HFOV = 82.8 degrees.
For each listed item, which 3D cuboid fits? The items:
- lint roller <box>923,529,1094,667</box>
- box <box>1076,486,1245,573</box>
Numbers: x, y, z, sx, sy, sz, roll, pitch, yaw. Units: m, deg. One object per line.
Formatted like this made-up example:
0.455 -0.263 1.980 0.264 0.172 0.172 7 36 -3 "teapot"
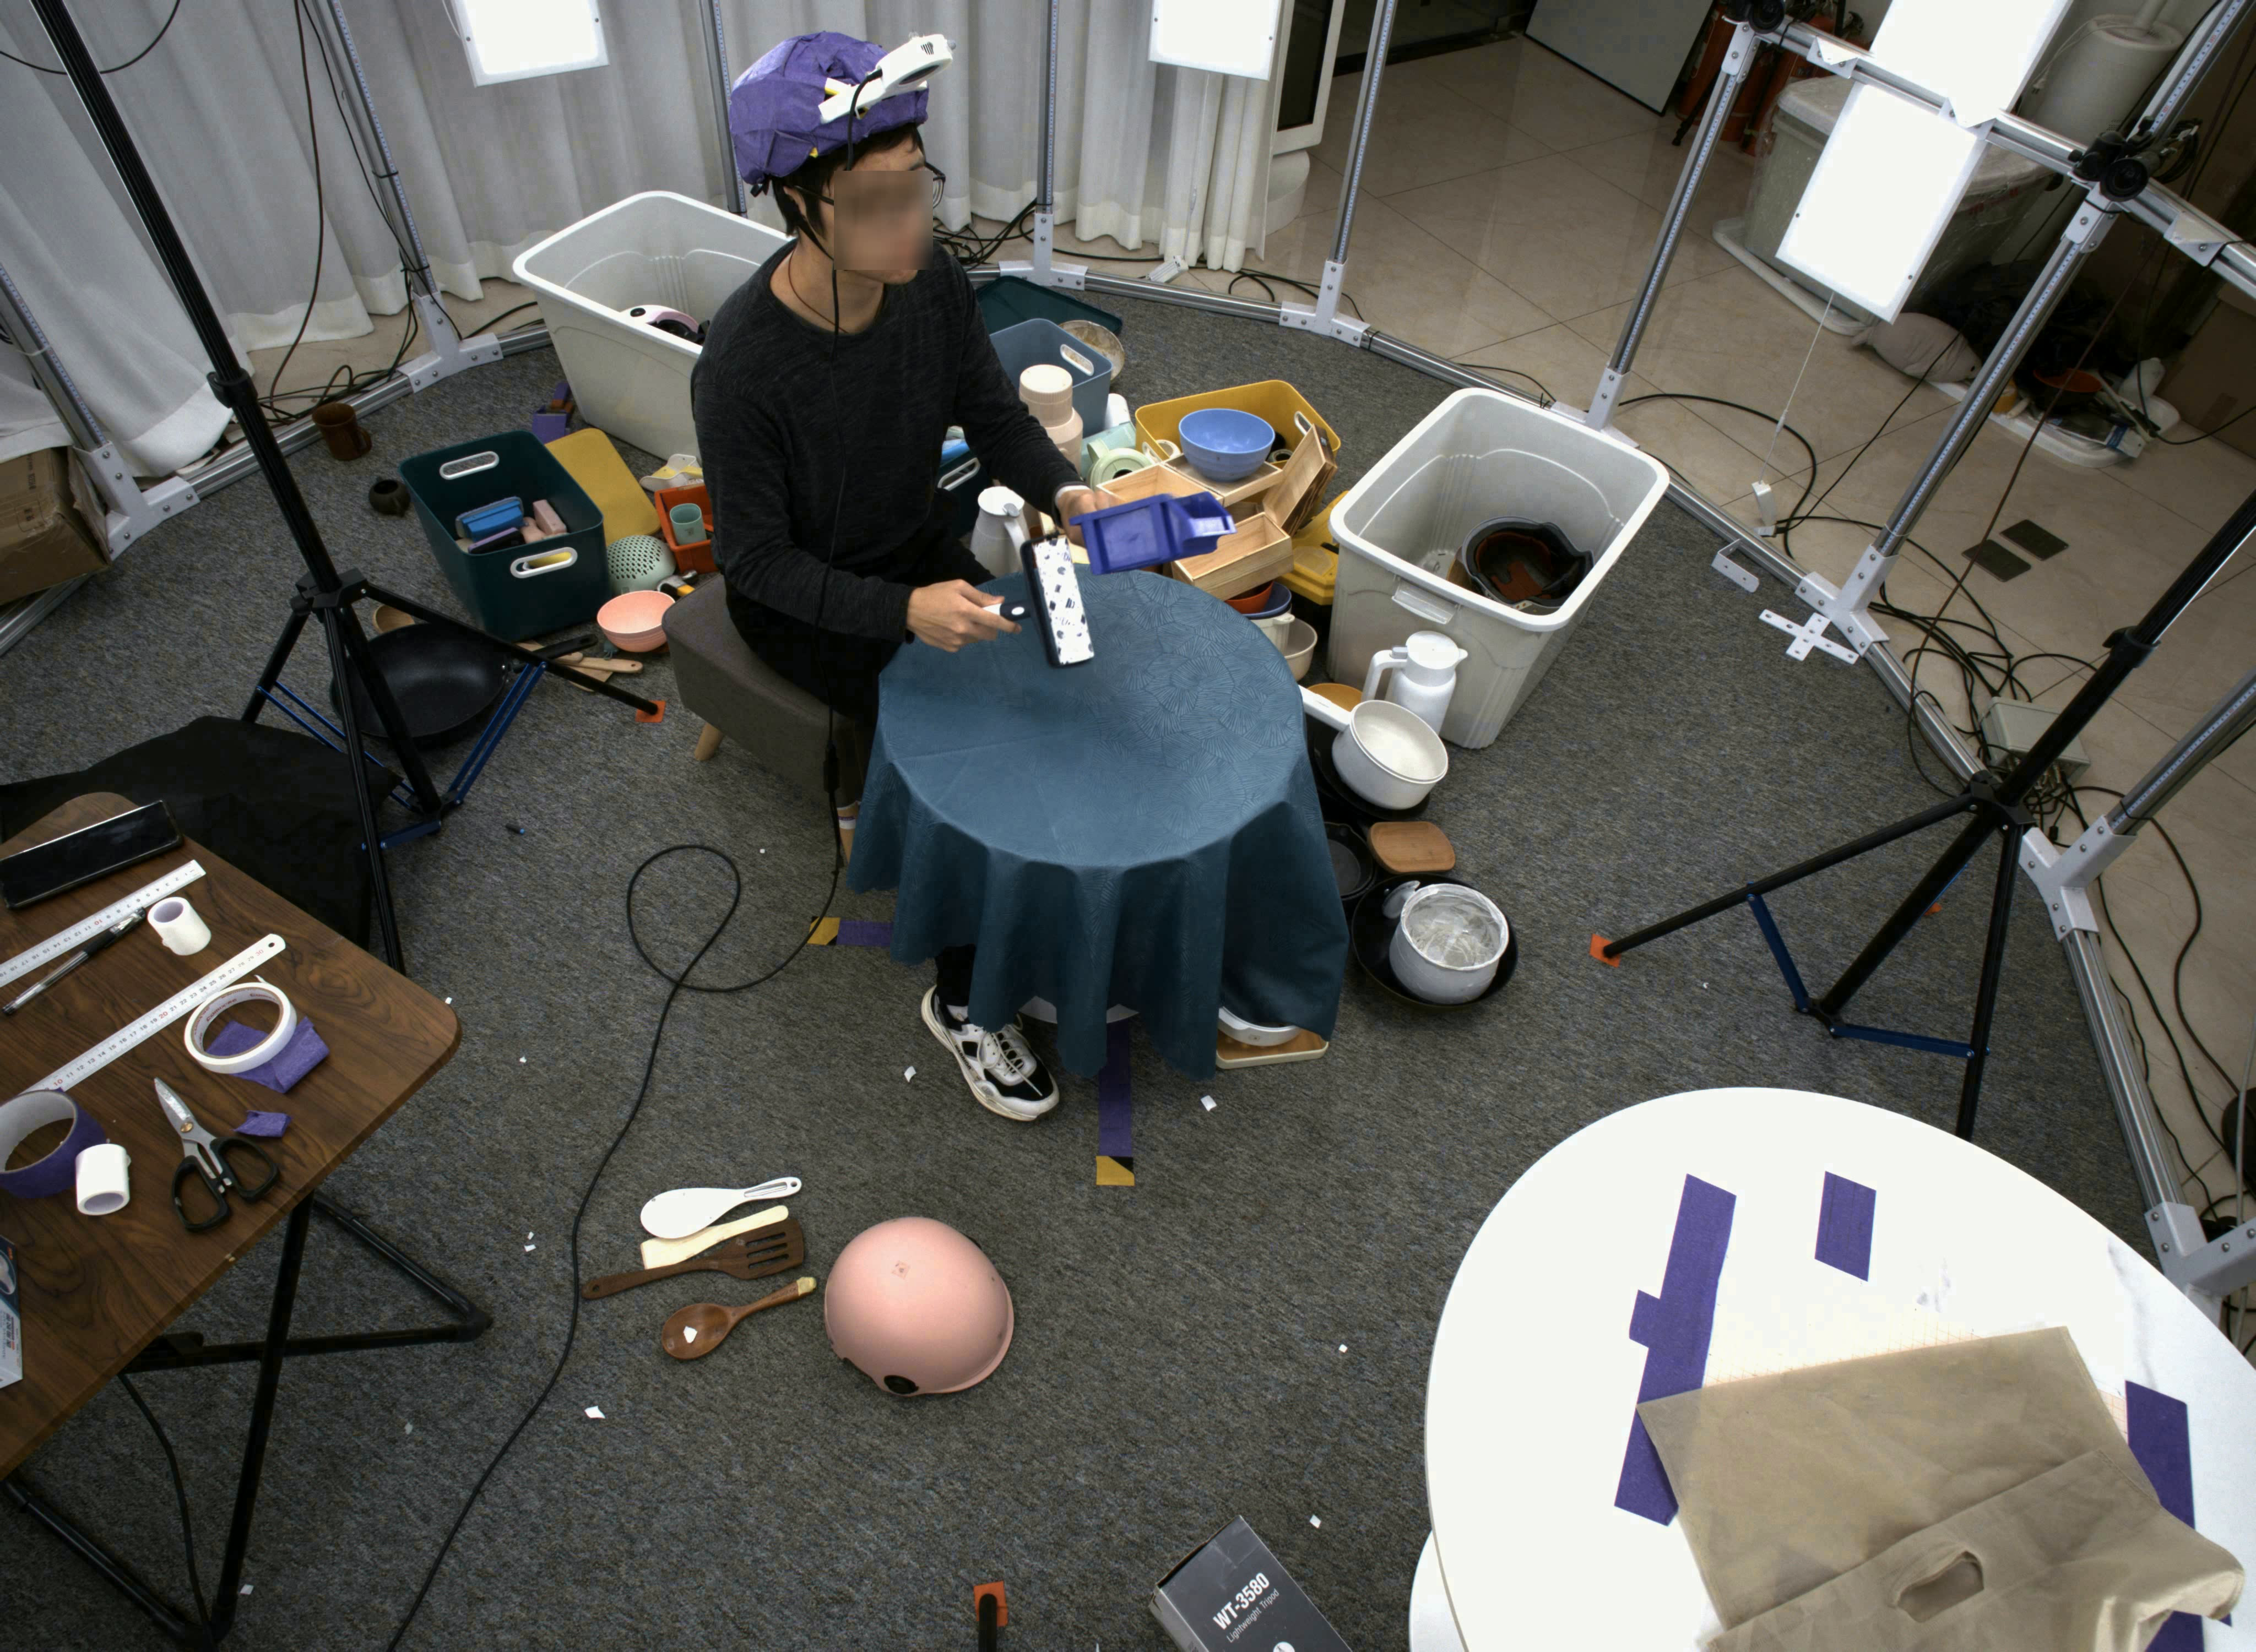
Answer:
-0.175 -0.286 1.739 0.247 0.175 0.051 -9 11 25 "lint roller"
0.045 -0.391 1.690 0.179 0.081 0.125 -9 6 34 "box"
